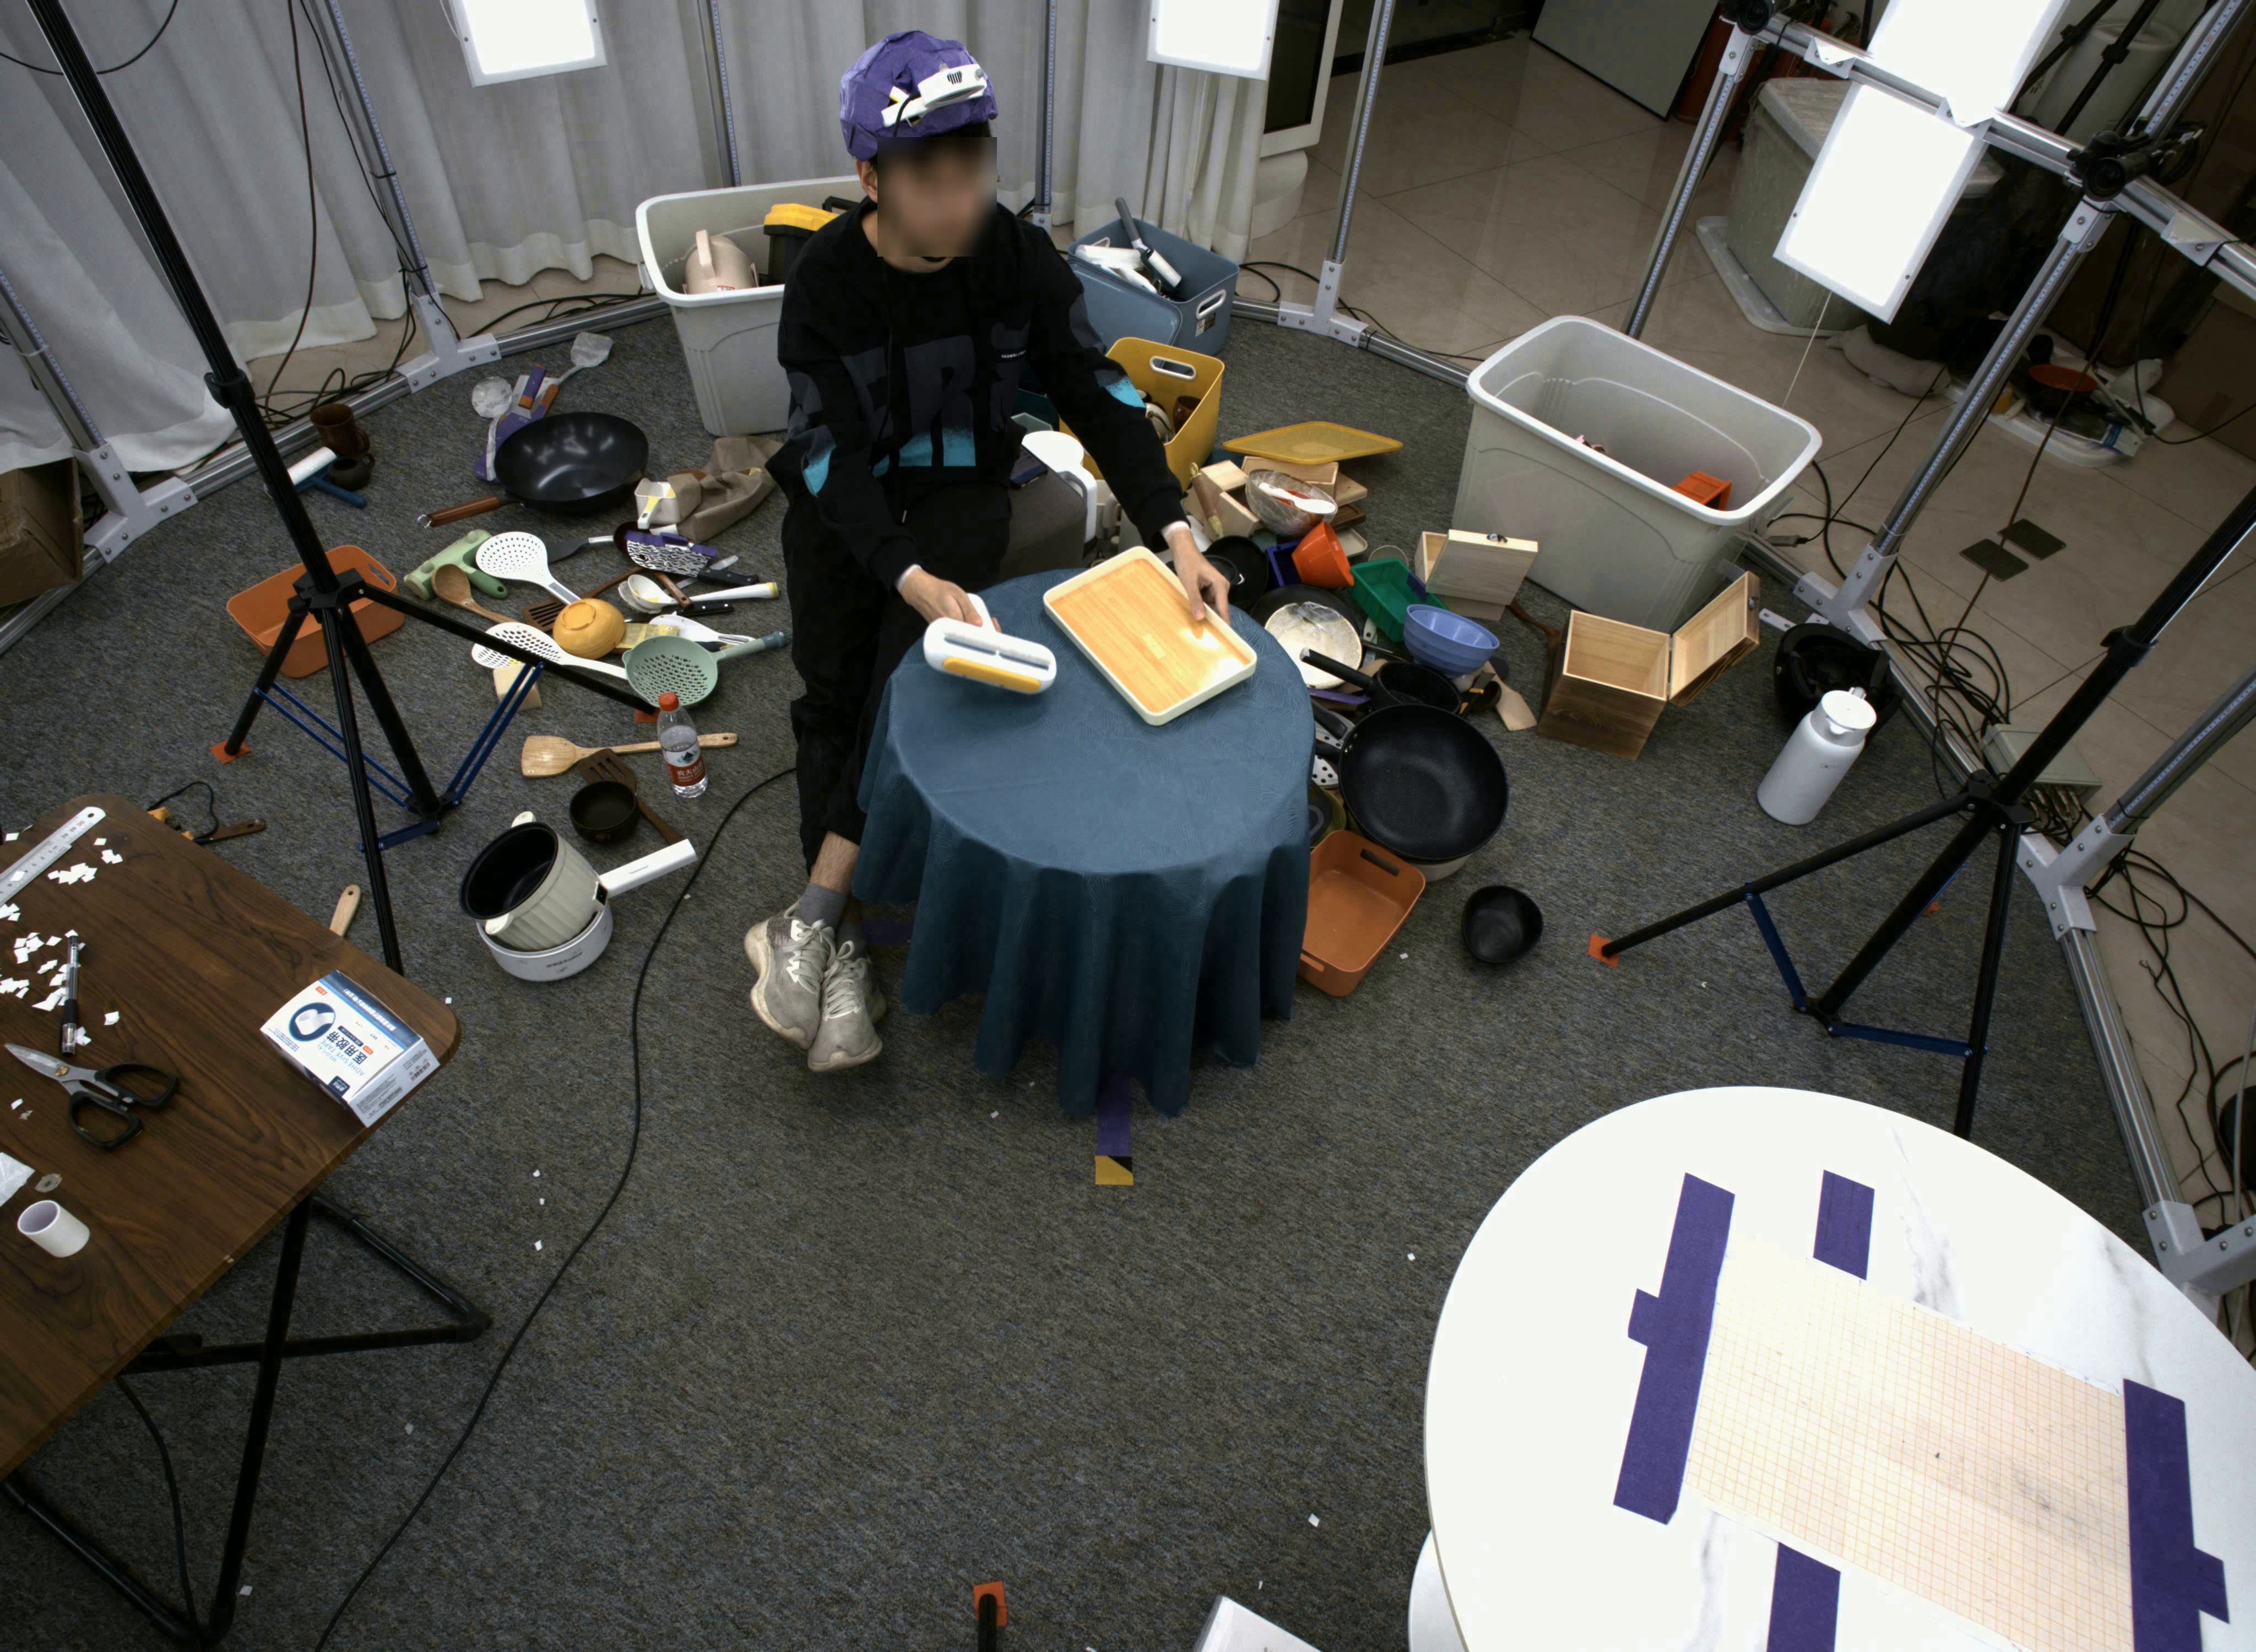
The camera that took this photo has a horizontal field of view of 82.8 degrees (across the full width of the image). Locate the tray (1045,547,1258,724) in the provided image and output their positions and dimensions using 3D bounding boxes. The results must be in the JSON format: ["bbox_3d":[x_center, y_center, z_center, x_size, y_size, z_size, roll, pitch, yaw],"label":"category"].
[{"bbox_3d":[0.031,-0.285,1.885,0.192,0.027,0.306,-29,57,-18],"label":"tray"}]

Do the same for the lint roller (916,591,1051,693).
[{"bbox_3d":[-0.206,-0.276,1.802,0.191,0.073,0.197,12,45,-23],"label":"lint roller"}]
